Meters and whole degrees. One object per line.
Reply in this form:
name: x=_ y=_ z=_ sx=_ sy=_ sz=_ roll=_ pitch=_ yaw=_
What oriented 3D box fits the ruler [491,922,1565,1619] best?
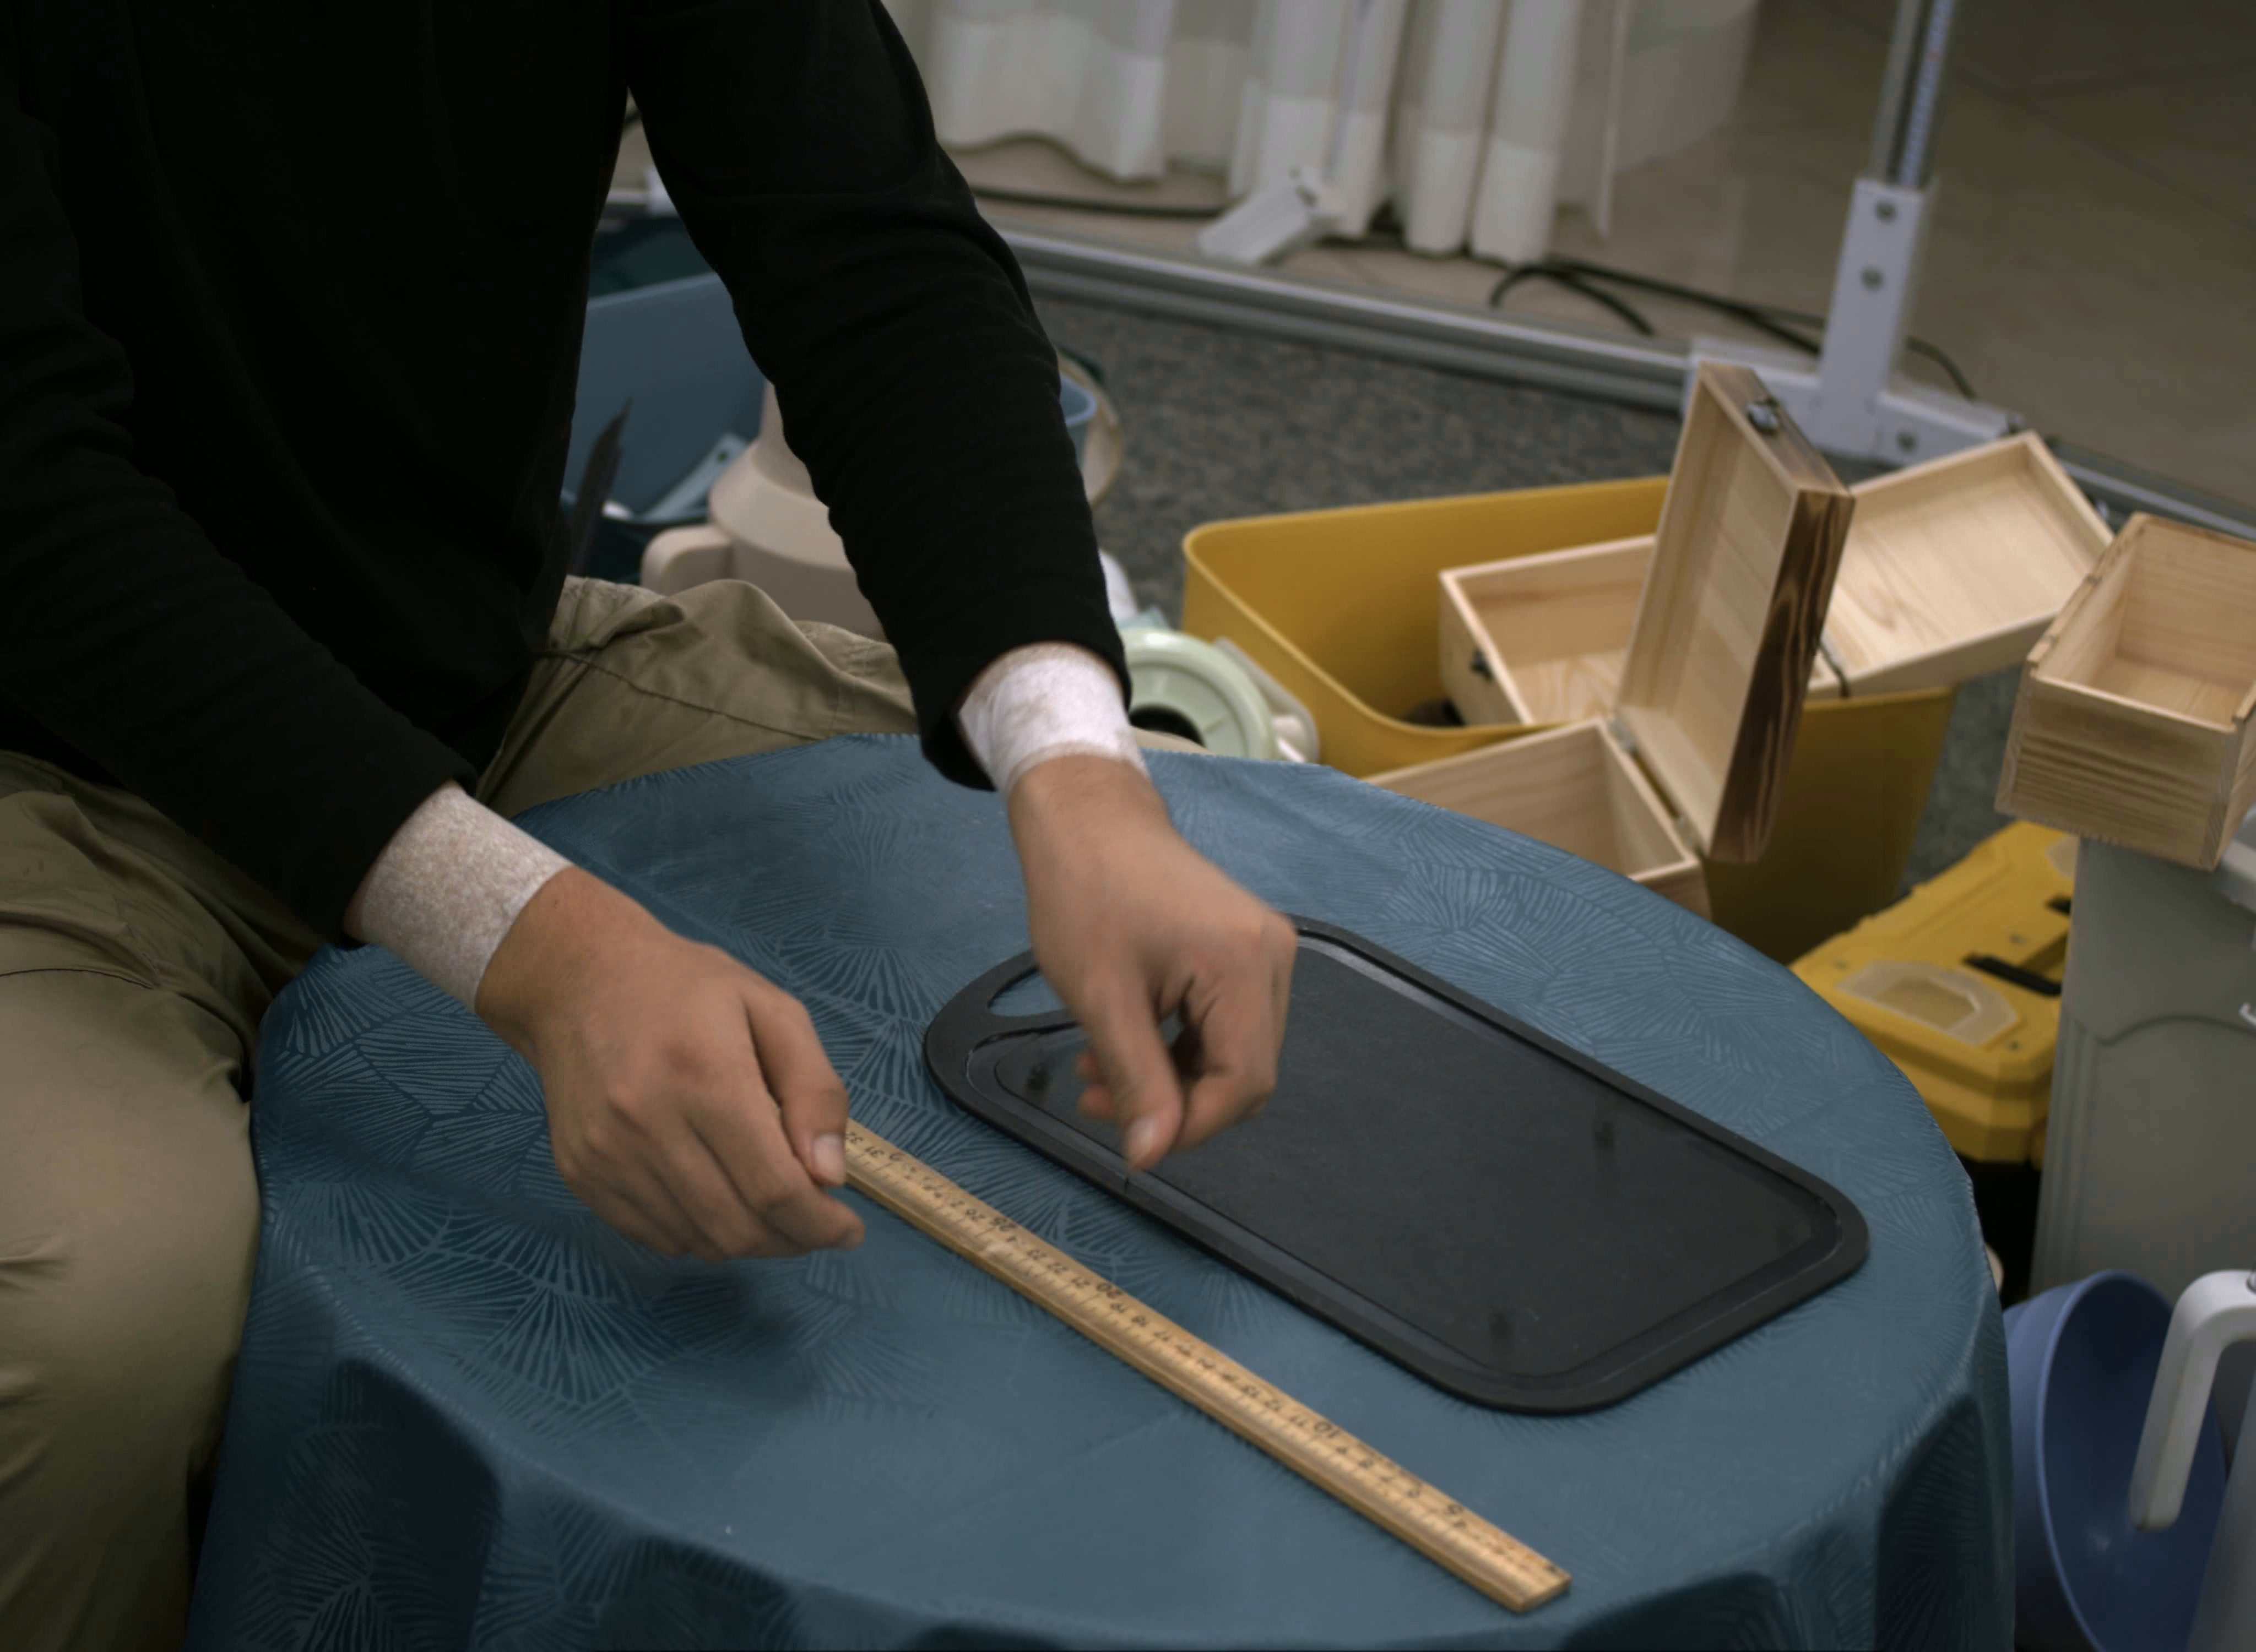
ruler: x=-0.047 y=0.136 z=1.760 sx=0.026 sy=0.006 sz=0.504 roll=-17 pitch=35 yaw=-42

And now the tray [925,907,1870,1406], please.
tray: x=0.085 y=0.105 z=1.849 sx=0.328 sy=0.010 sz=0.210 roll=28 pitch=34 yaw=36
